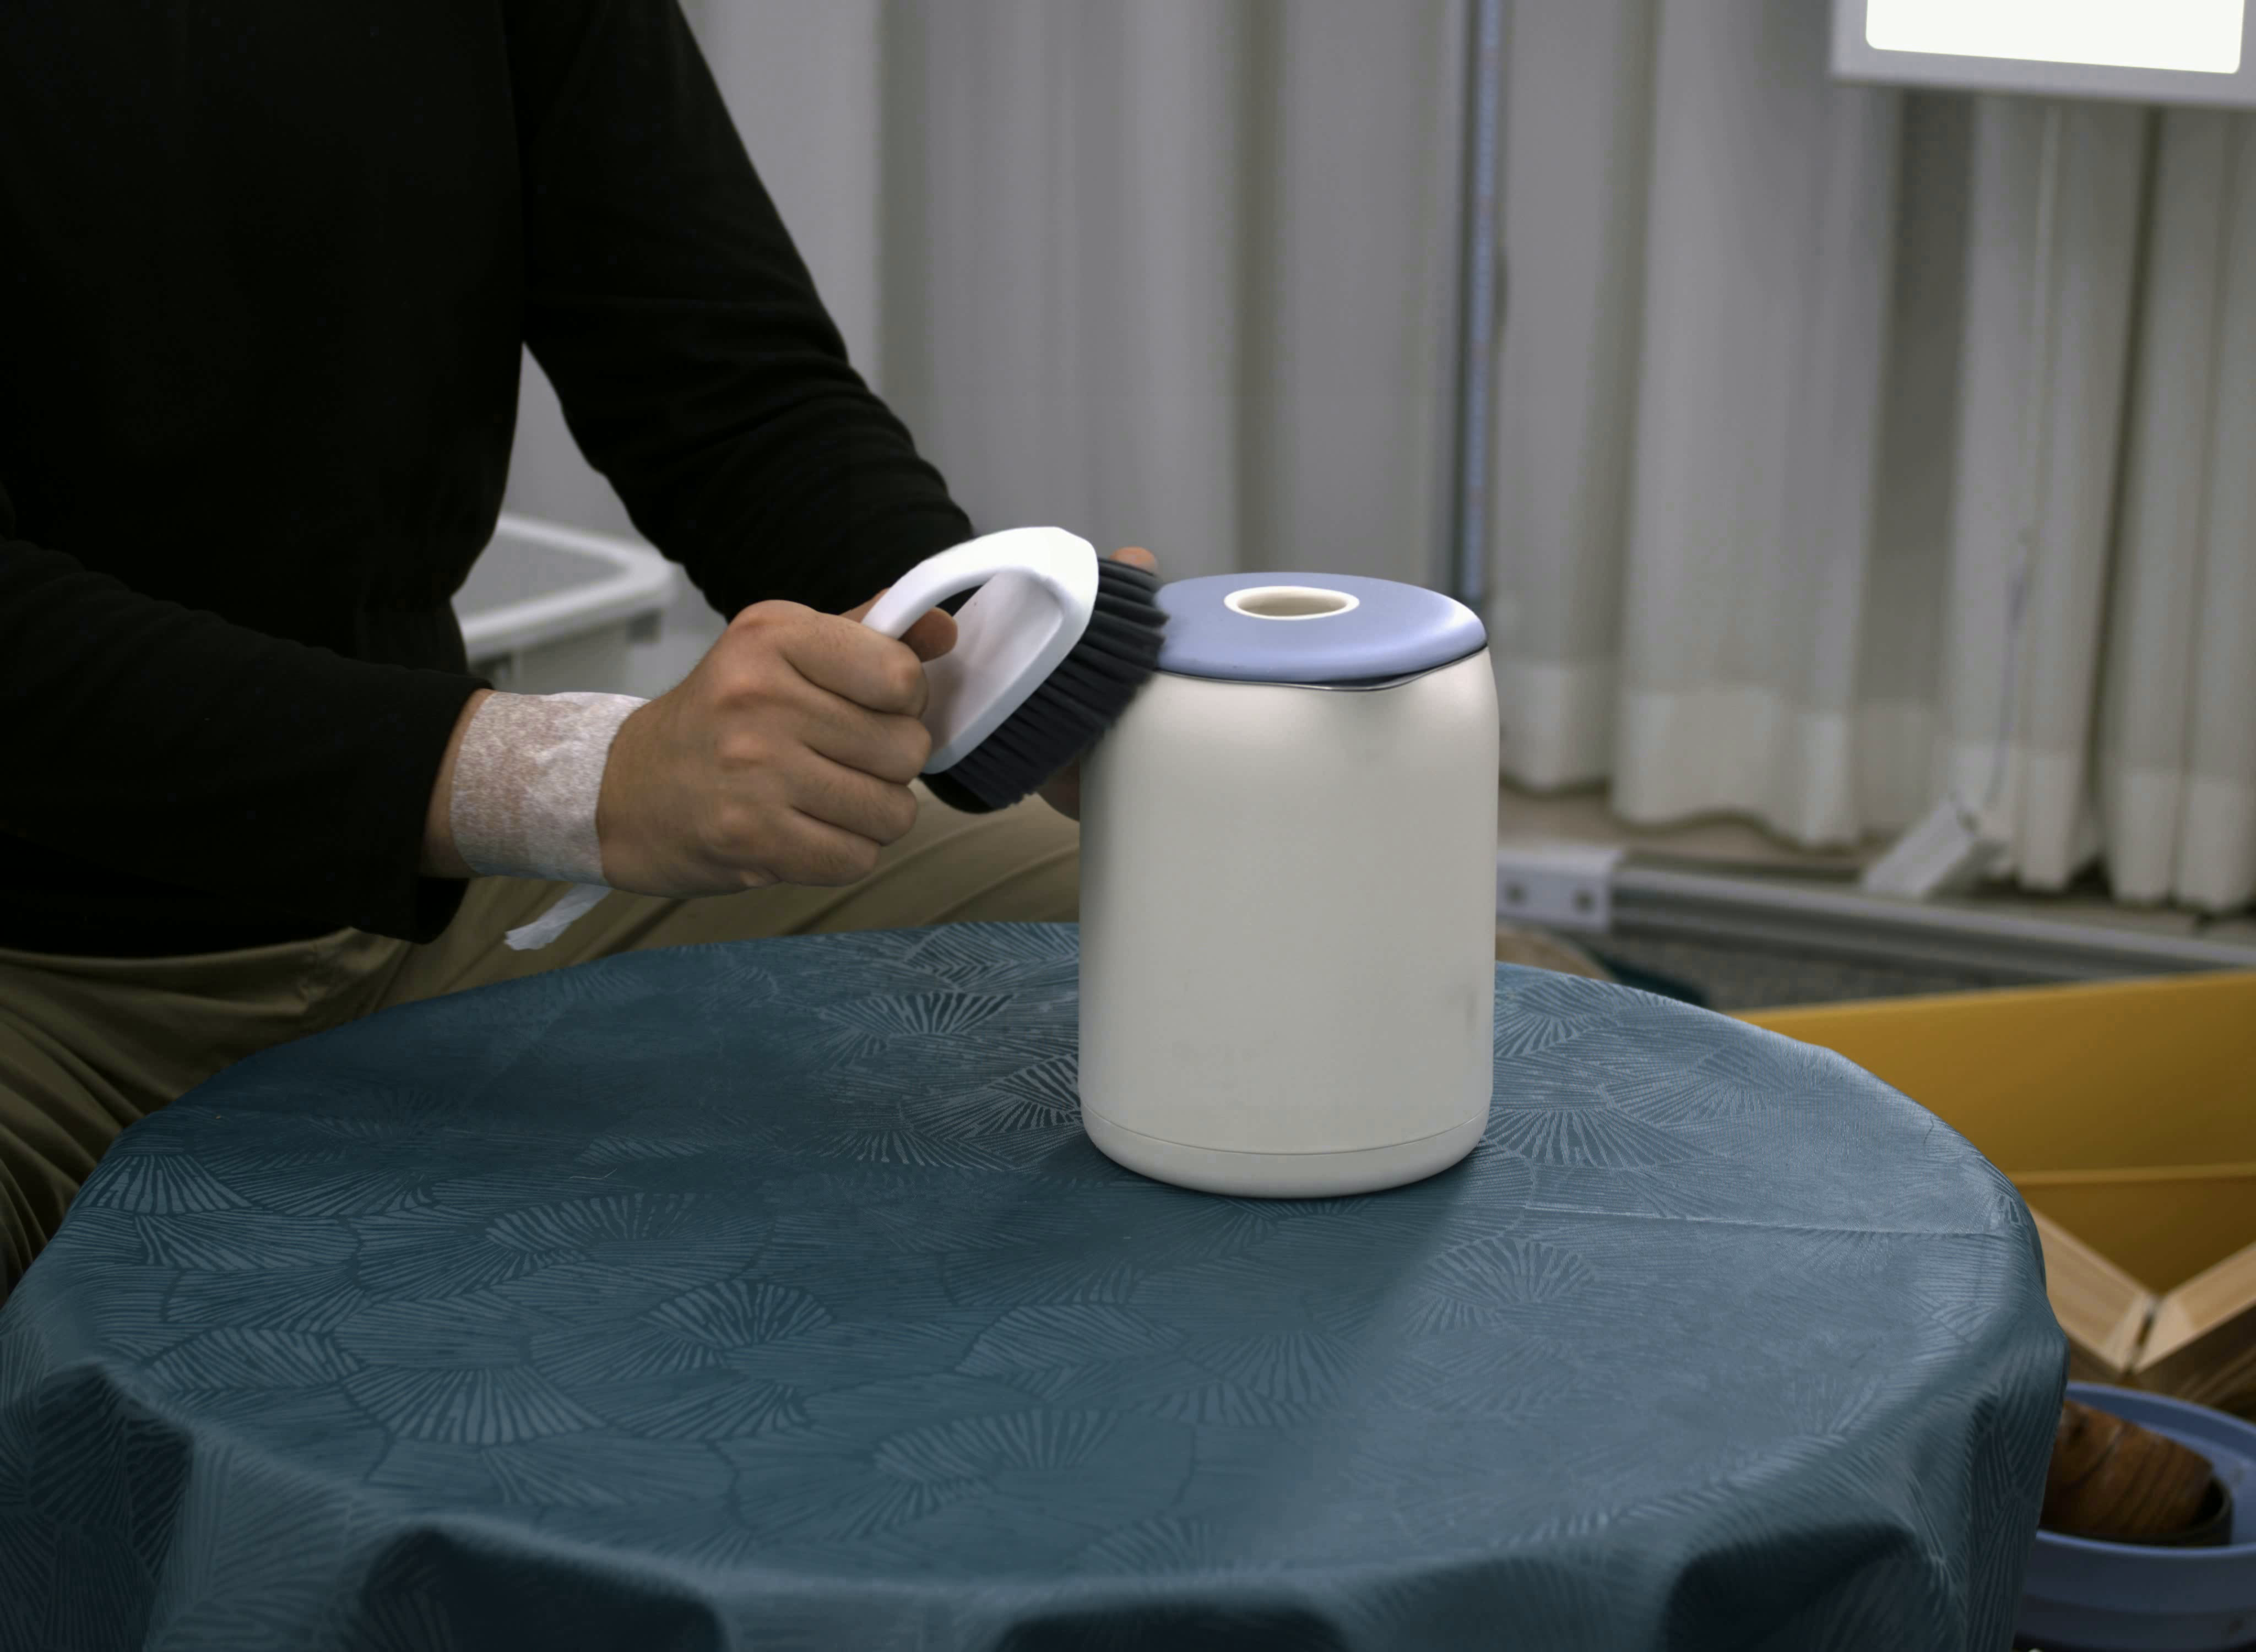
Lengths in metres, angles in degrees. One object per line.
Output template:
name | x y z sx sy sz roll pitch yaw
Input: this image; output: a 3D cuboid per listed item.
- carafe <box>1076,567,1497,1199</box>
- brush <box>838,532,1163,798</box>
carafe | 0.040 0.011 1.668 0.132 0.184 0.189 -6 16 -21
brush | -0.046 -0.054 1.596 0.073 0.099 0.050 23 47 -31
